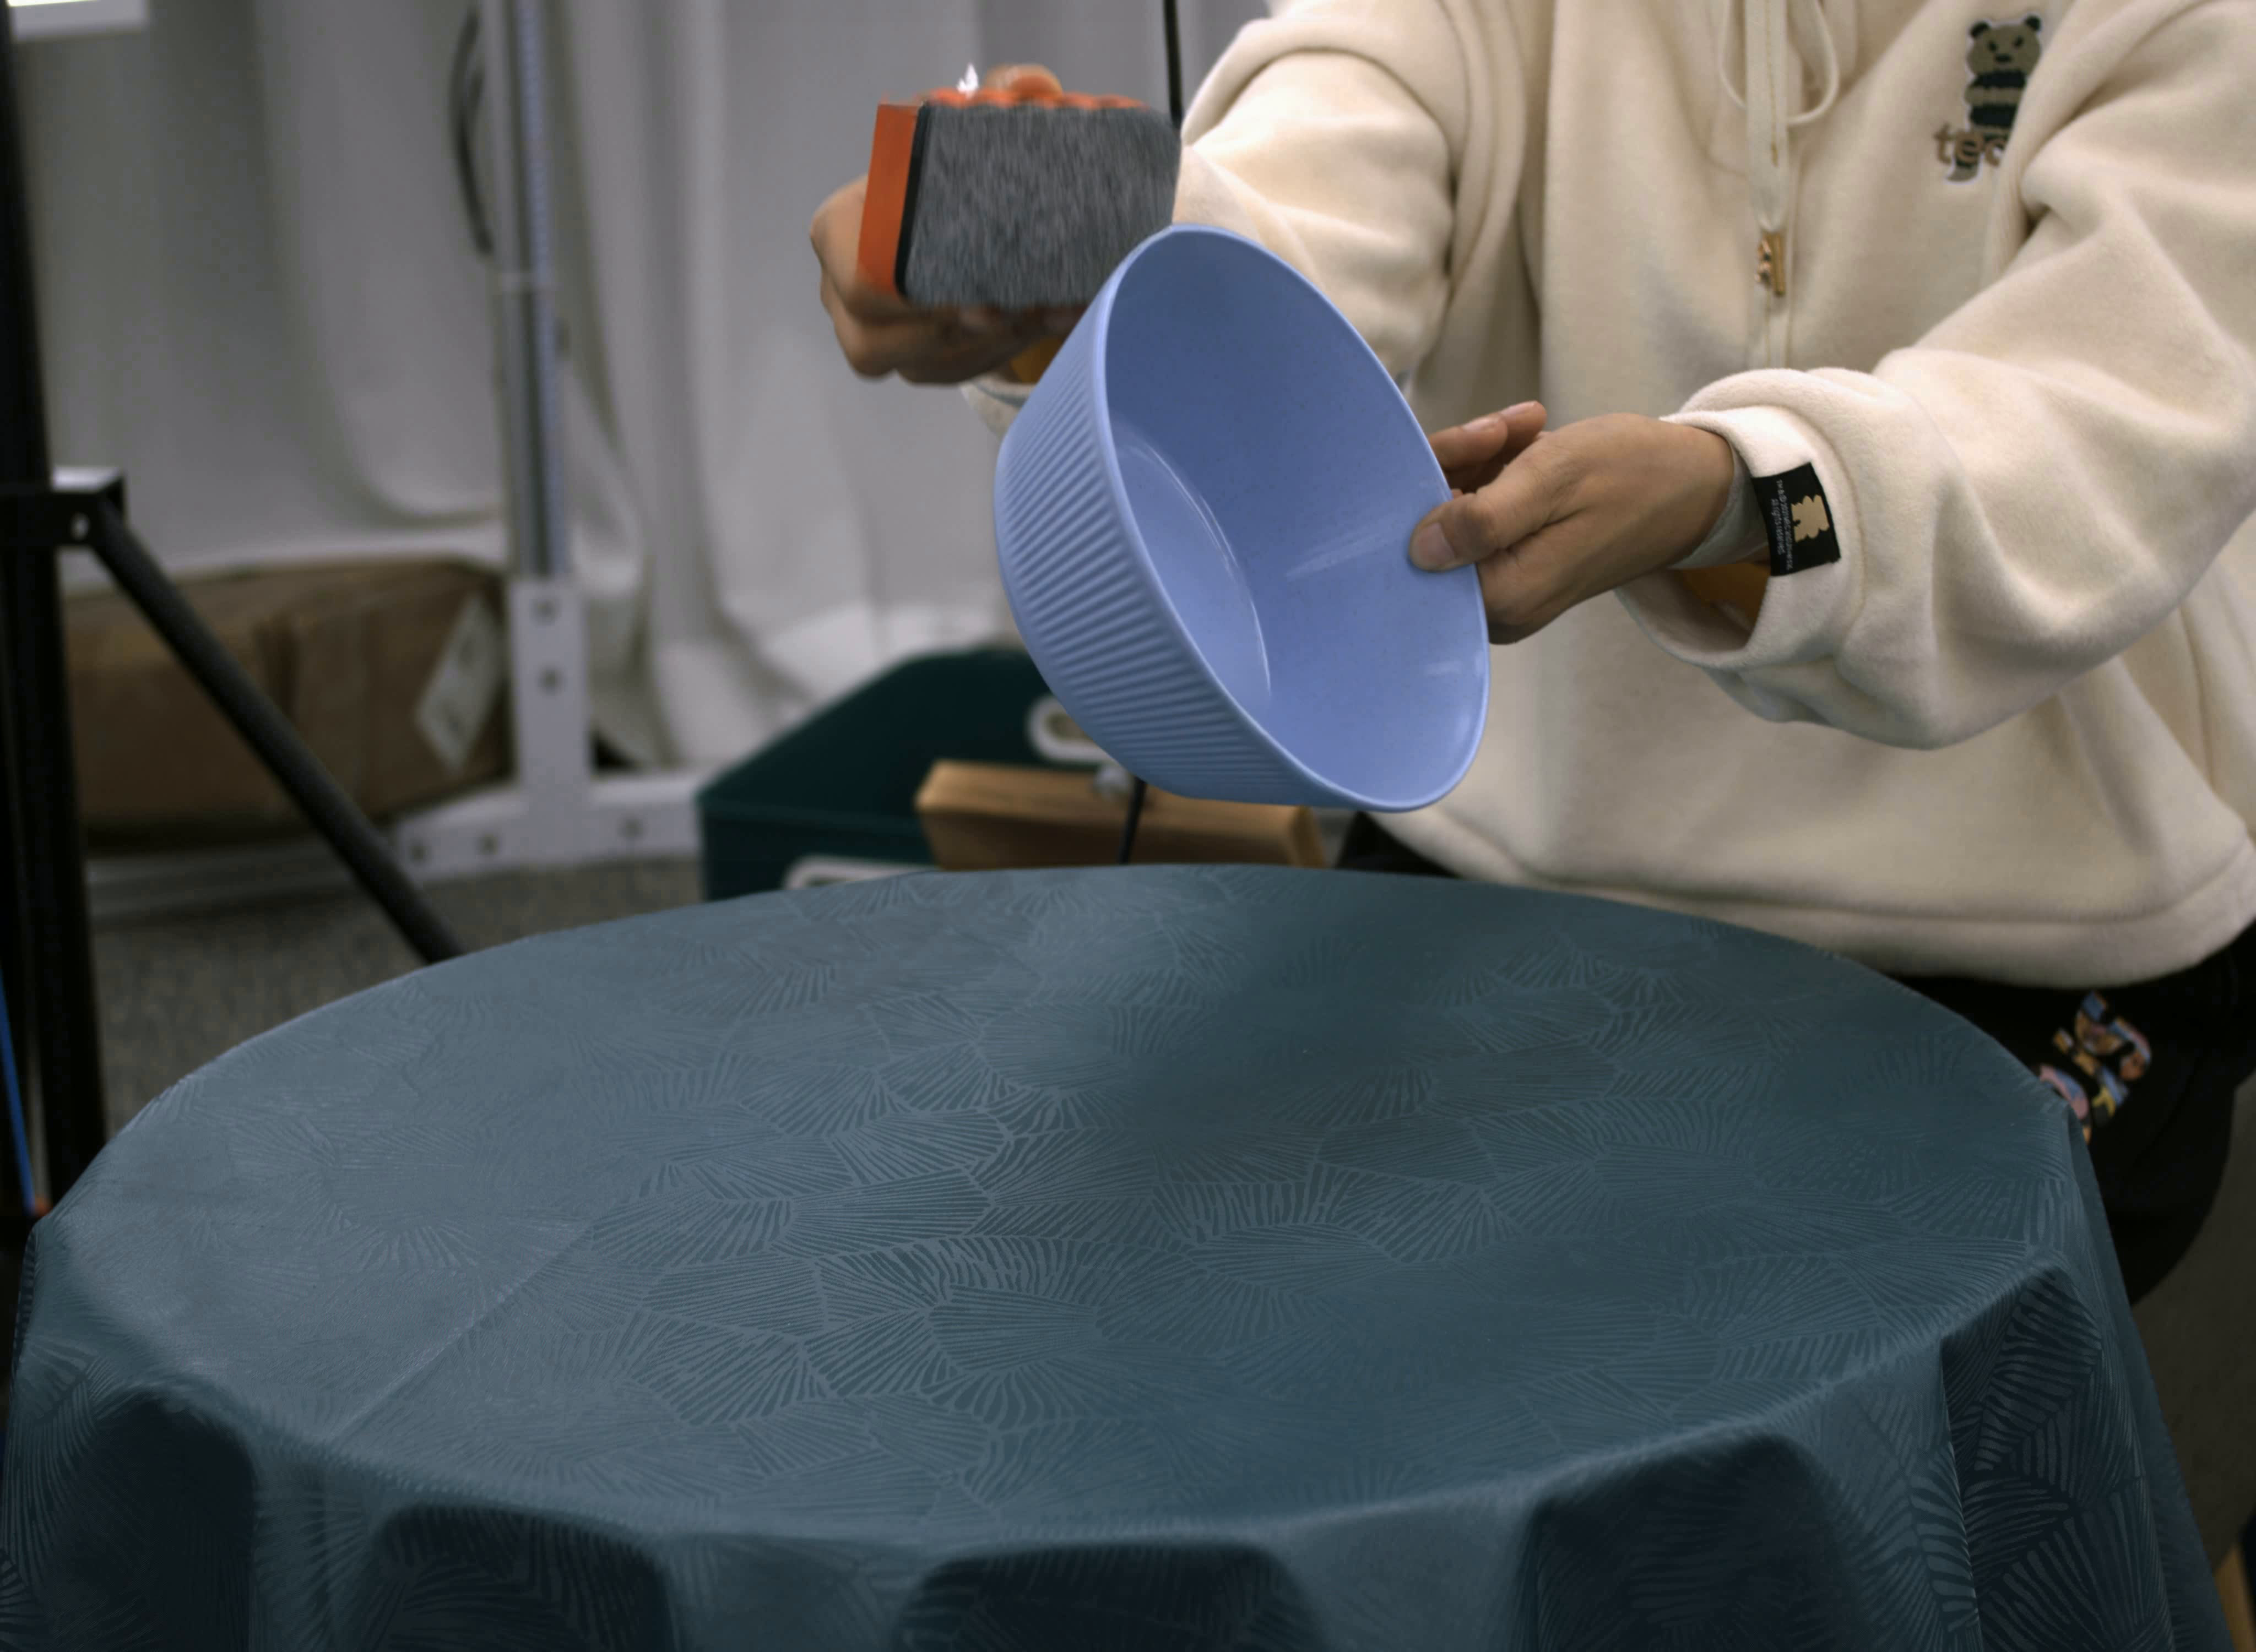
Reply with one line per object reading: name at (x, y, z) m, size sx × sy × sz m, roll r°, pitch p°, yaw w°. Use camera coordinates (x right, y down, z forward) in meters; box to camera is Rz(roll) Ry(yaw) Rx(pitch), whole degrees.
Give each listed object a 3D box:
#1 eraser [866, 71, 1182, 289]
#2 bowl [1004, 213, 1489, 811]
eraser at (-0.029, -0.183, 1.512) m, size 0.023 × 0.059 × 0.105 m, roll 15°, pitch 15°, yaw 40°
bowl at (0.025, -0.076, 1.479) m, size 0.071 × 0.176 × 0.173 m, roll -26°, pitch 2°, yaw 31°
